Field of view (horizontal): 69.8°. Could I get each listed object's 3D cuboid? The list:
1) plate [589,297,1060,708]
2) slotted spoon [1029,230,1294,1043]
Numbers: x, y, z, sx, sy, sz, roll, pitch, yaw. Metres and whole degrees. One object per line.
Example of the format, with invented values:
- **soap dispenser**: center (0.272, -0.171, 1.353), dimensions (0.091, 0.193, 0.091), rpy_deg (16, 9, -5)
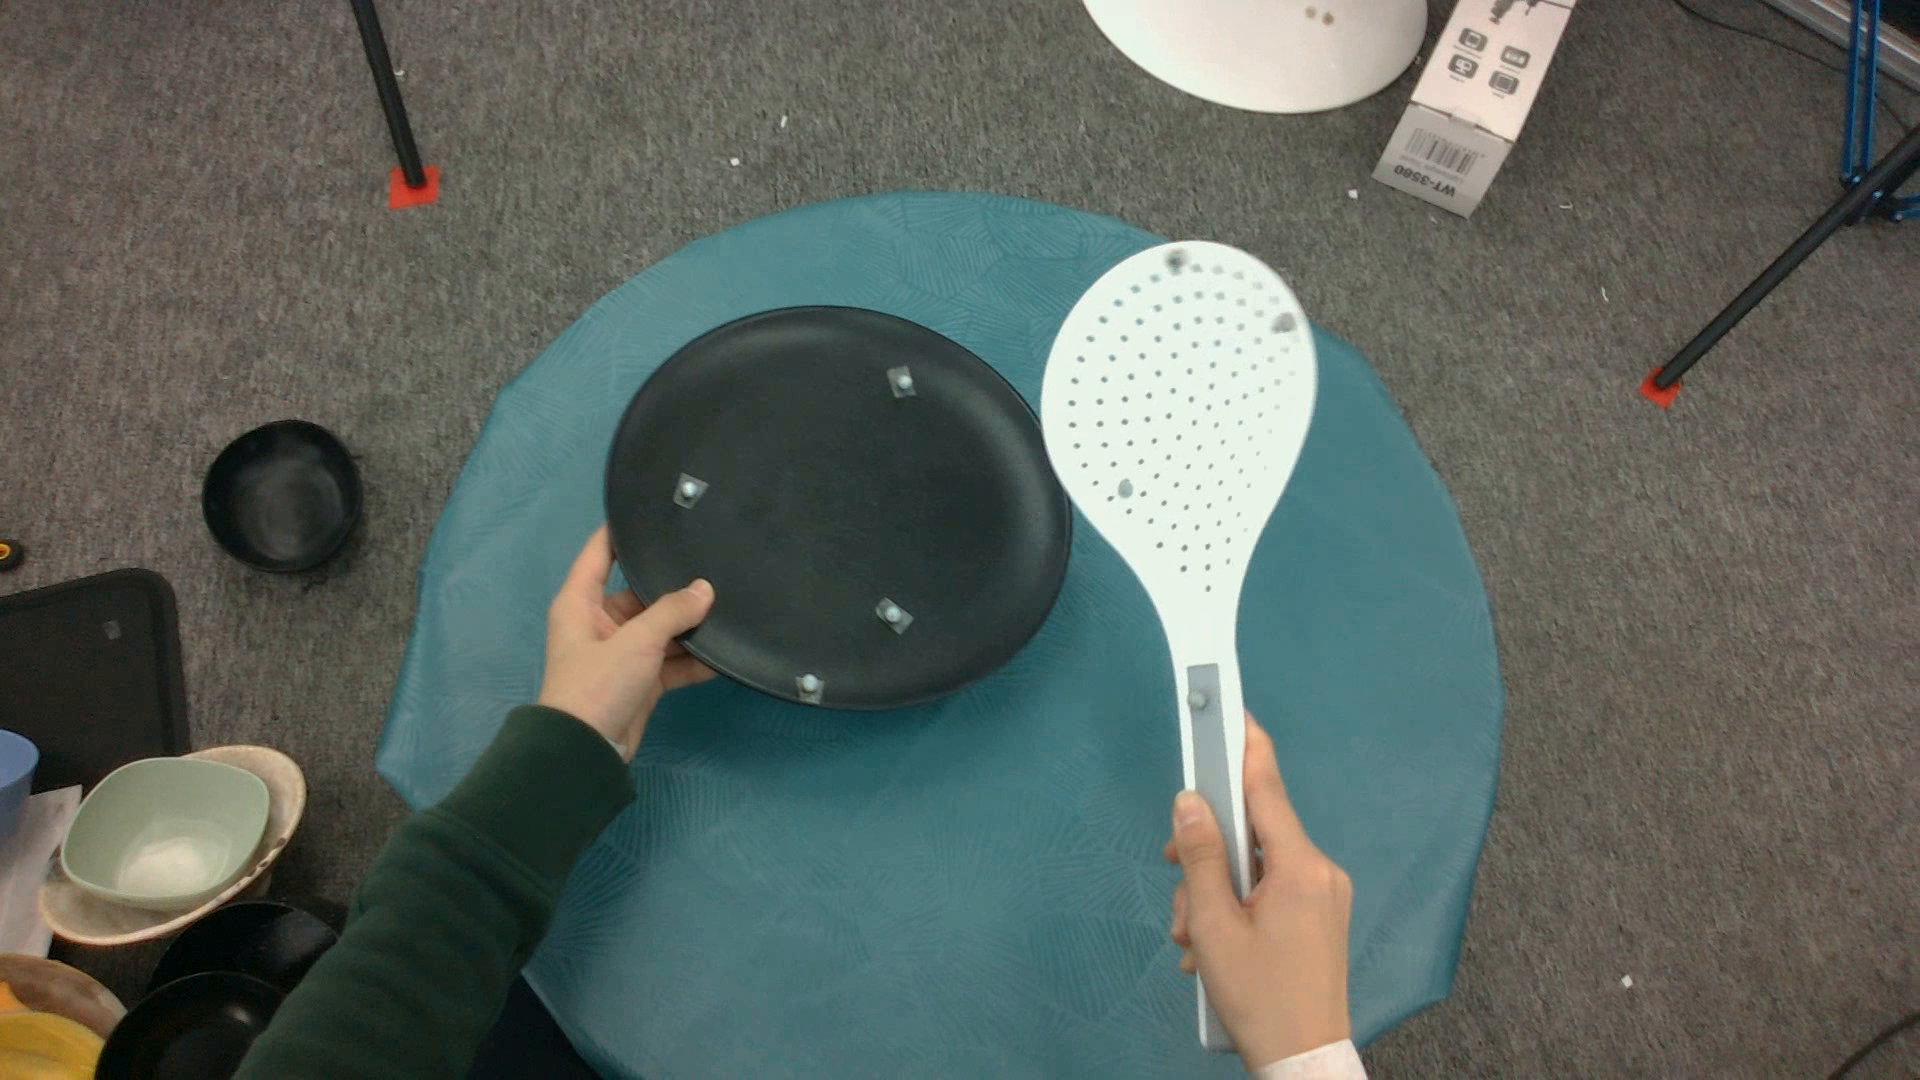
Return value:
- **plate**: center (-0.067, -0.023, 0.714), dimensions (0.244, 0.023, 0.245), rpy_deg (7, 59, -12)
- **slotted spoon**: center (0.098, 0.035, 0.599), dimensions (0.046, 0.135, 0.350), rpy_deg (17, 66, -49)
